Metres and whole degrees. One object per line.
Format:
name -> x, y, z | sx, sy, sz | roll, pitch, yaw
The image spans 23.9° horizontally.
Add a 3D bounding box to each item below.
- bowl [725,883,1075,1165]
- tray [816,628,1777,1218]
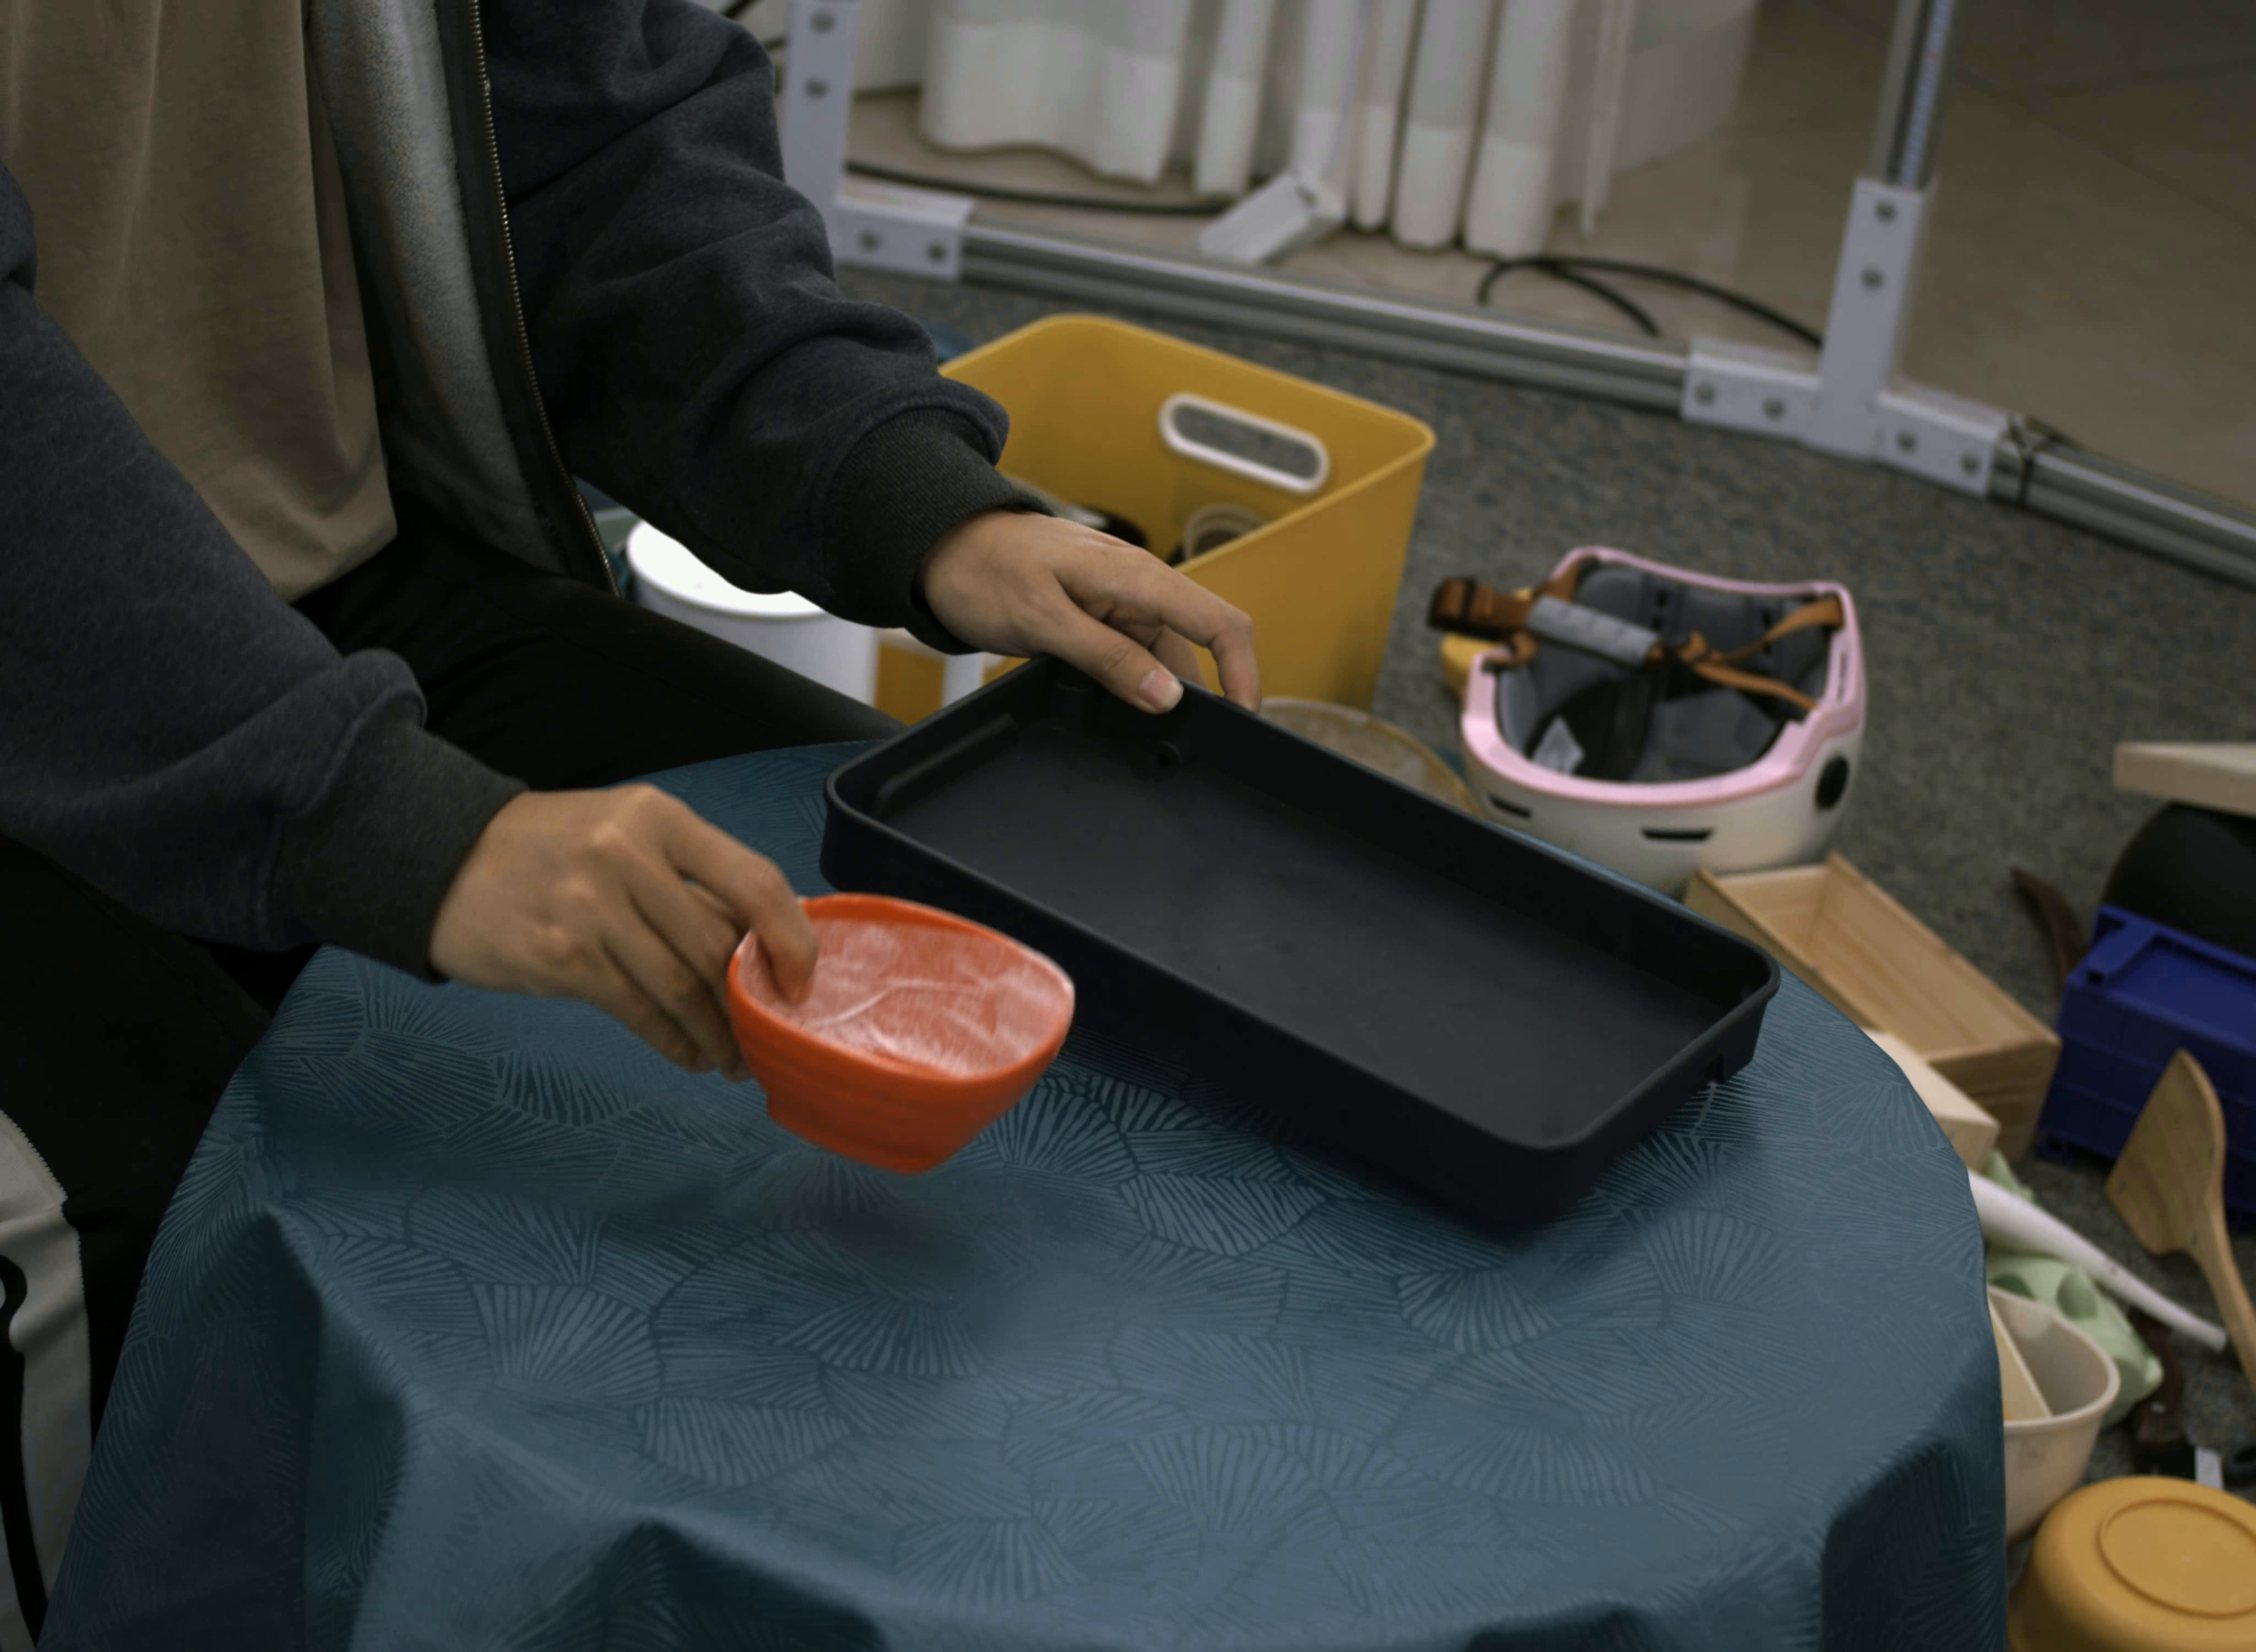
bowl -> -0.078, 0.069, 1.743 | 0.118, 0.051, 0.119 | 11, 27, -6
tray -> 0.058, 0.029, 1.905 | 0.319, 0.037, 0.184 | 26, 33, 25
